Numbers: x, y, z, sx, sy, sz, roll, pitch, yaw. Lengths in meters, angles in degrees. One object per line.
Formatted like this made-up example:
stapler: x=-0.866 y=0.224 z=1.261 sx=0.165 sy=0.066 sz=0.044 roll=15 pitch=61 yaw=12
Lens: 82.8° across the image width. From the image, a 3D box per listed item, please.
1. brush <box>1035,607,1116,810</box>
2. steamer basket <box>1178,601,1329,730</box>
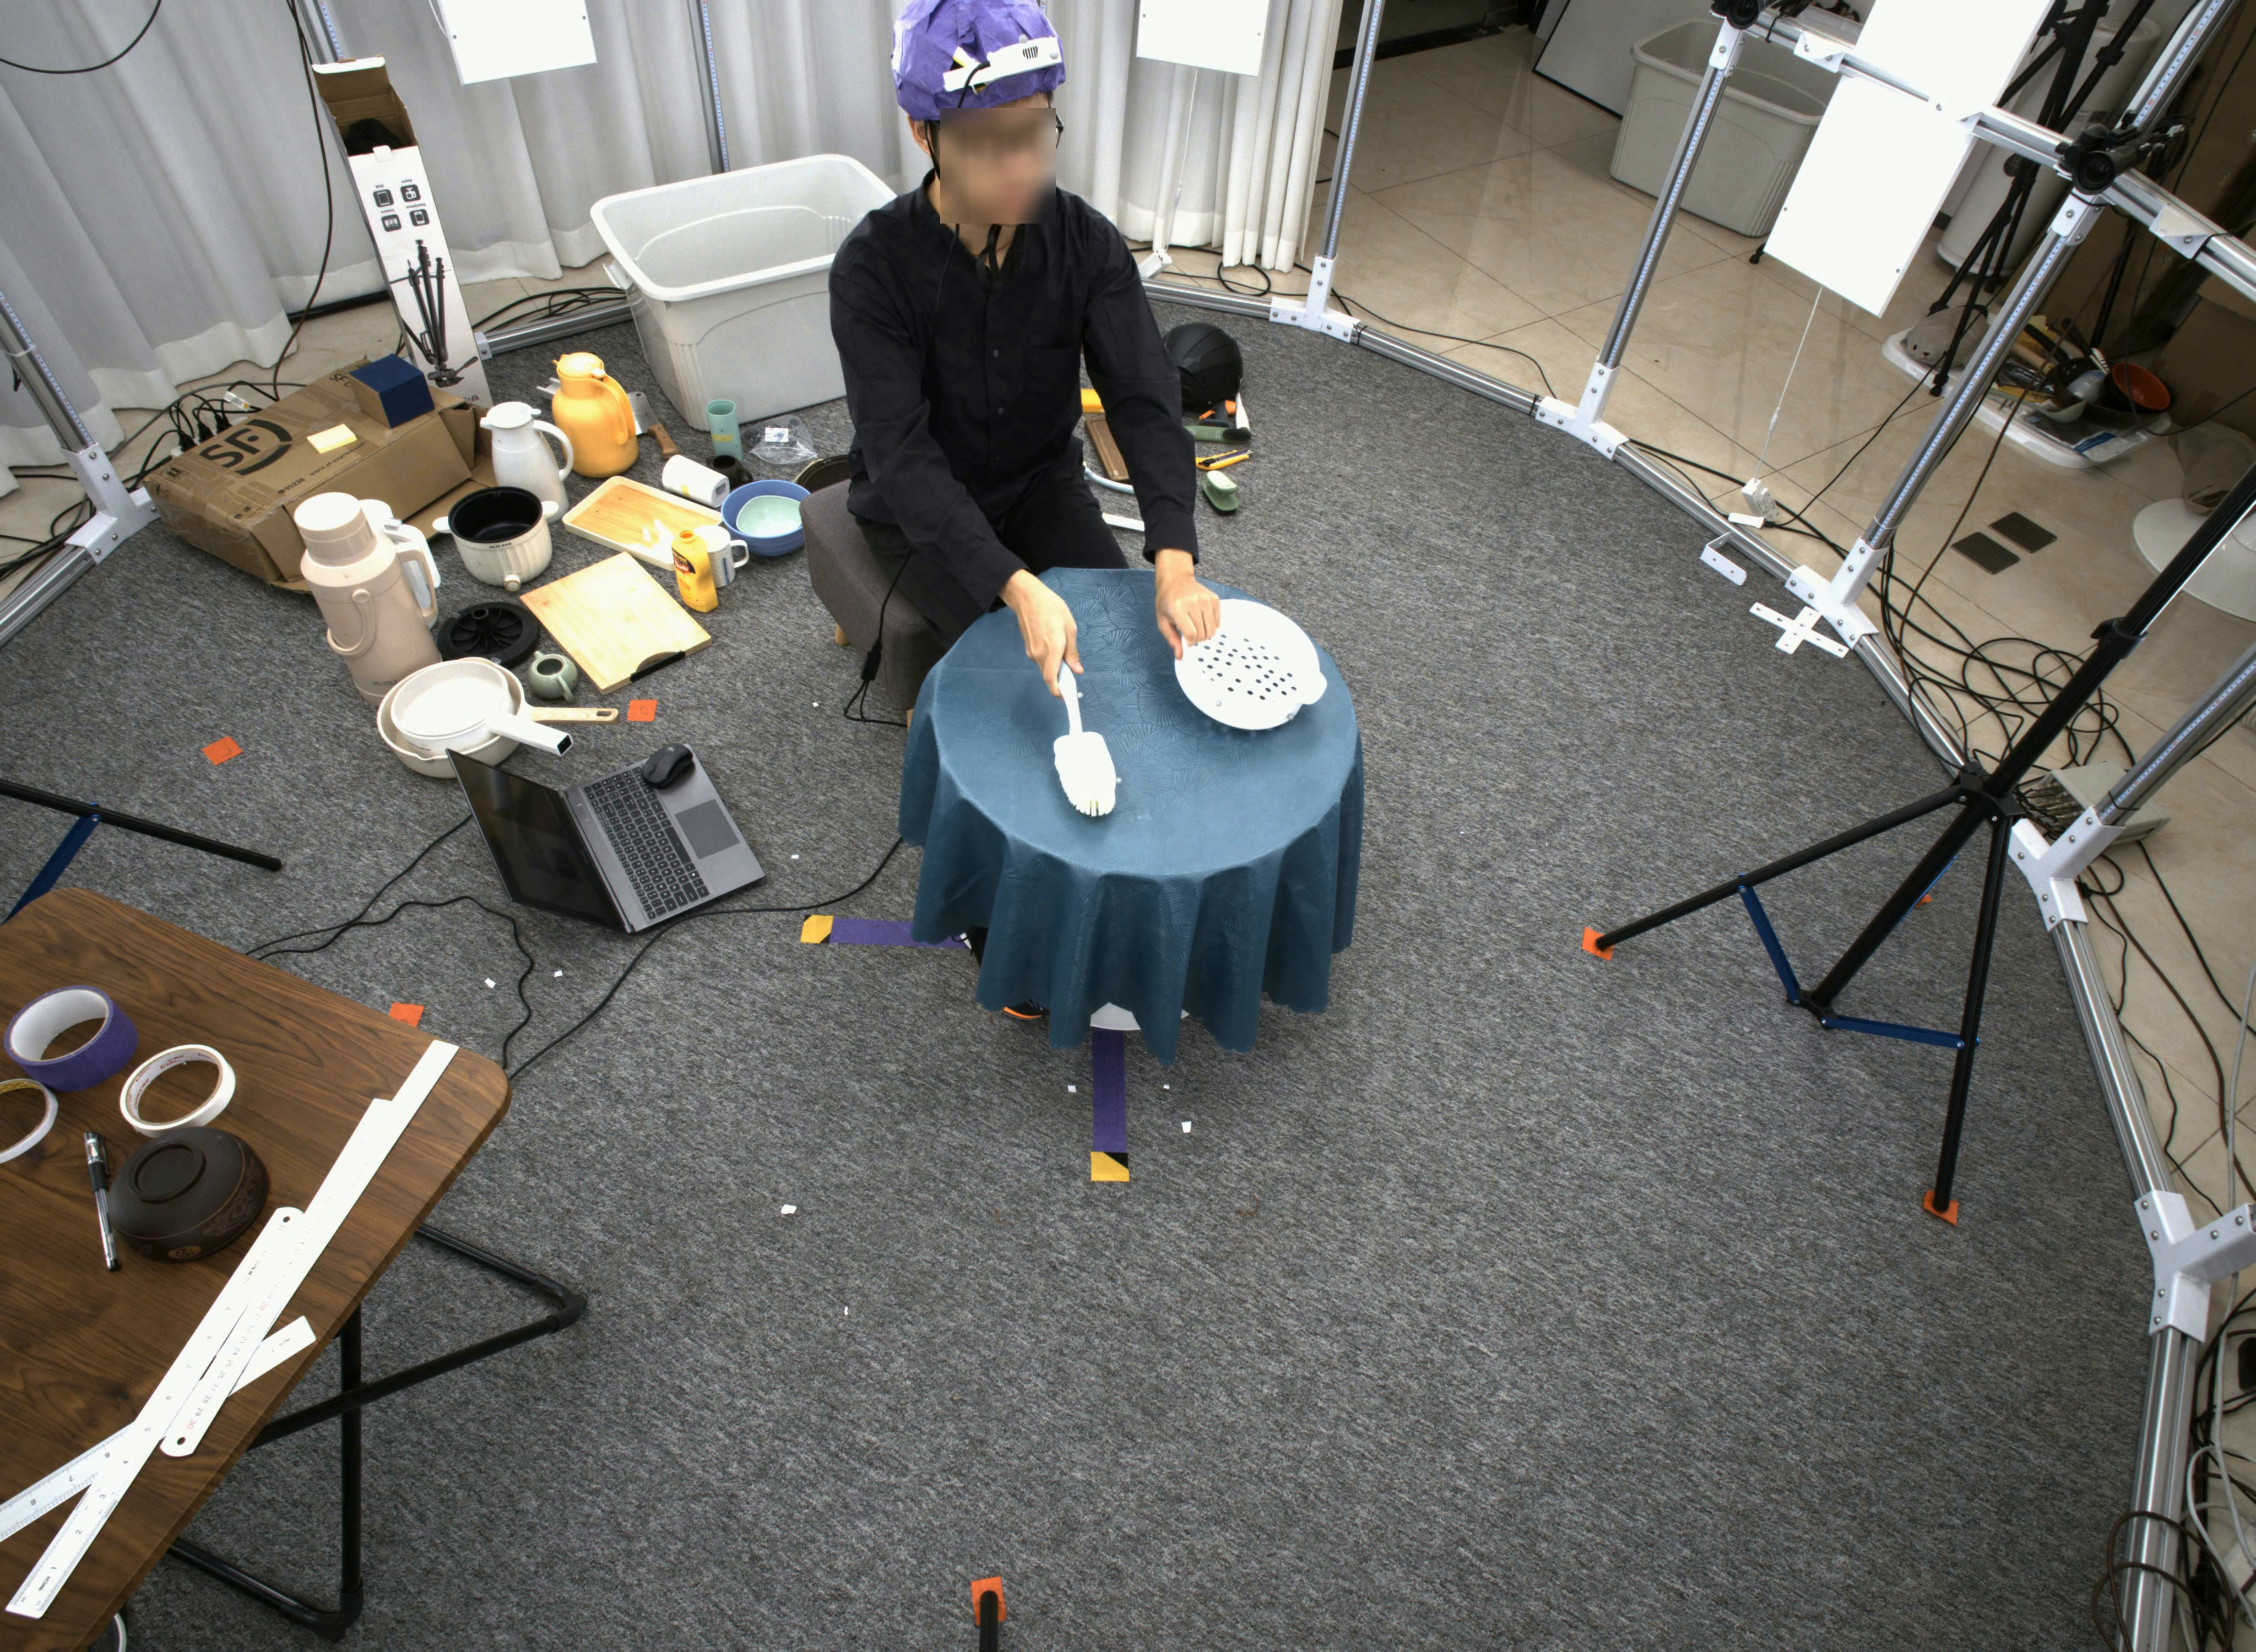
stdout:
brush: x=-0.076 y=-0.157 z=1.748 sx=0.082 sy=0.083 sz=0.332 roll=14 pitch=47 yaw=-43
steamer basket: x=0.169 y=-0.226 z=1.818 sx=0.231 sy=0.068 sz=0.205 roll=32 pitch=50 yaw=8
